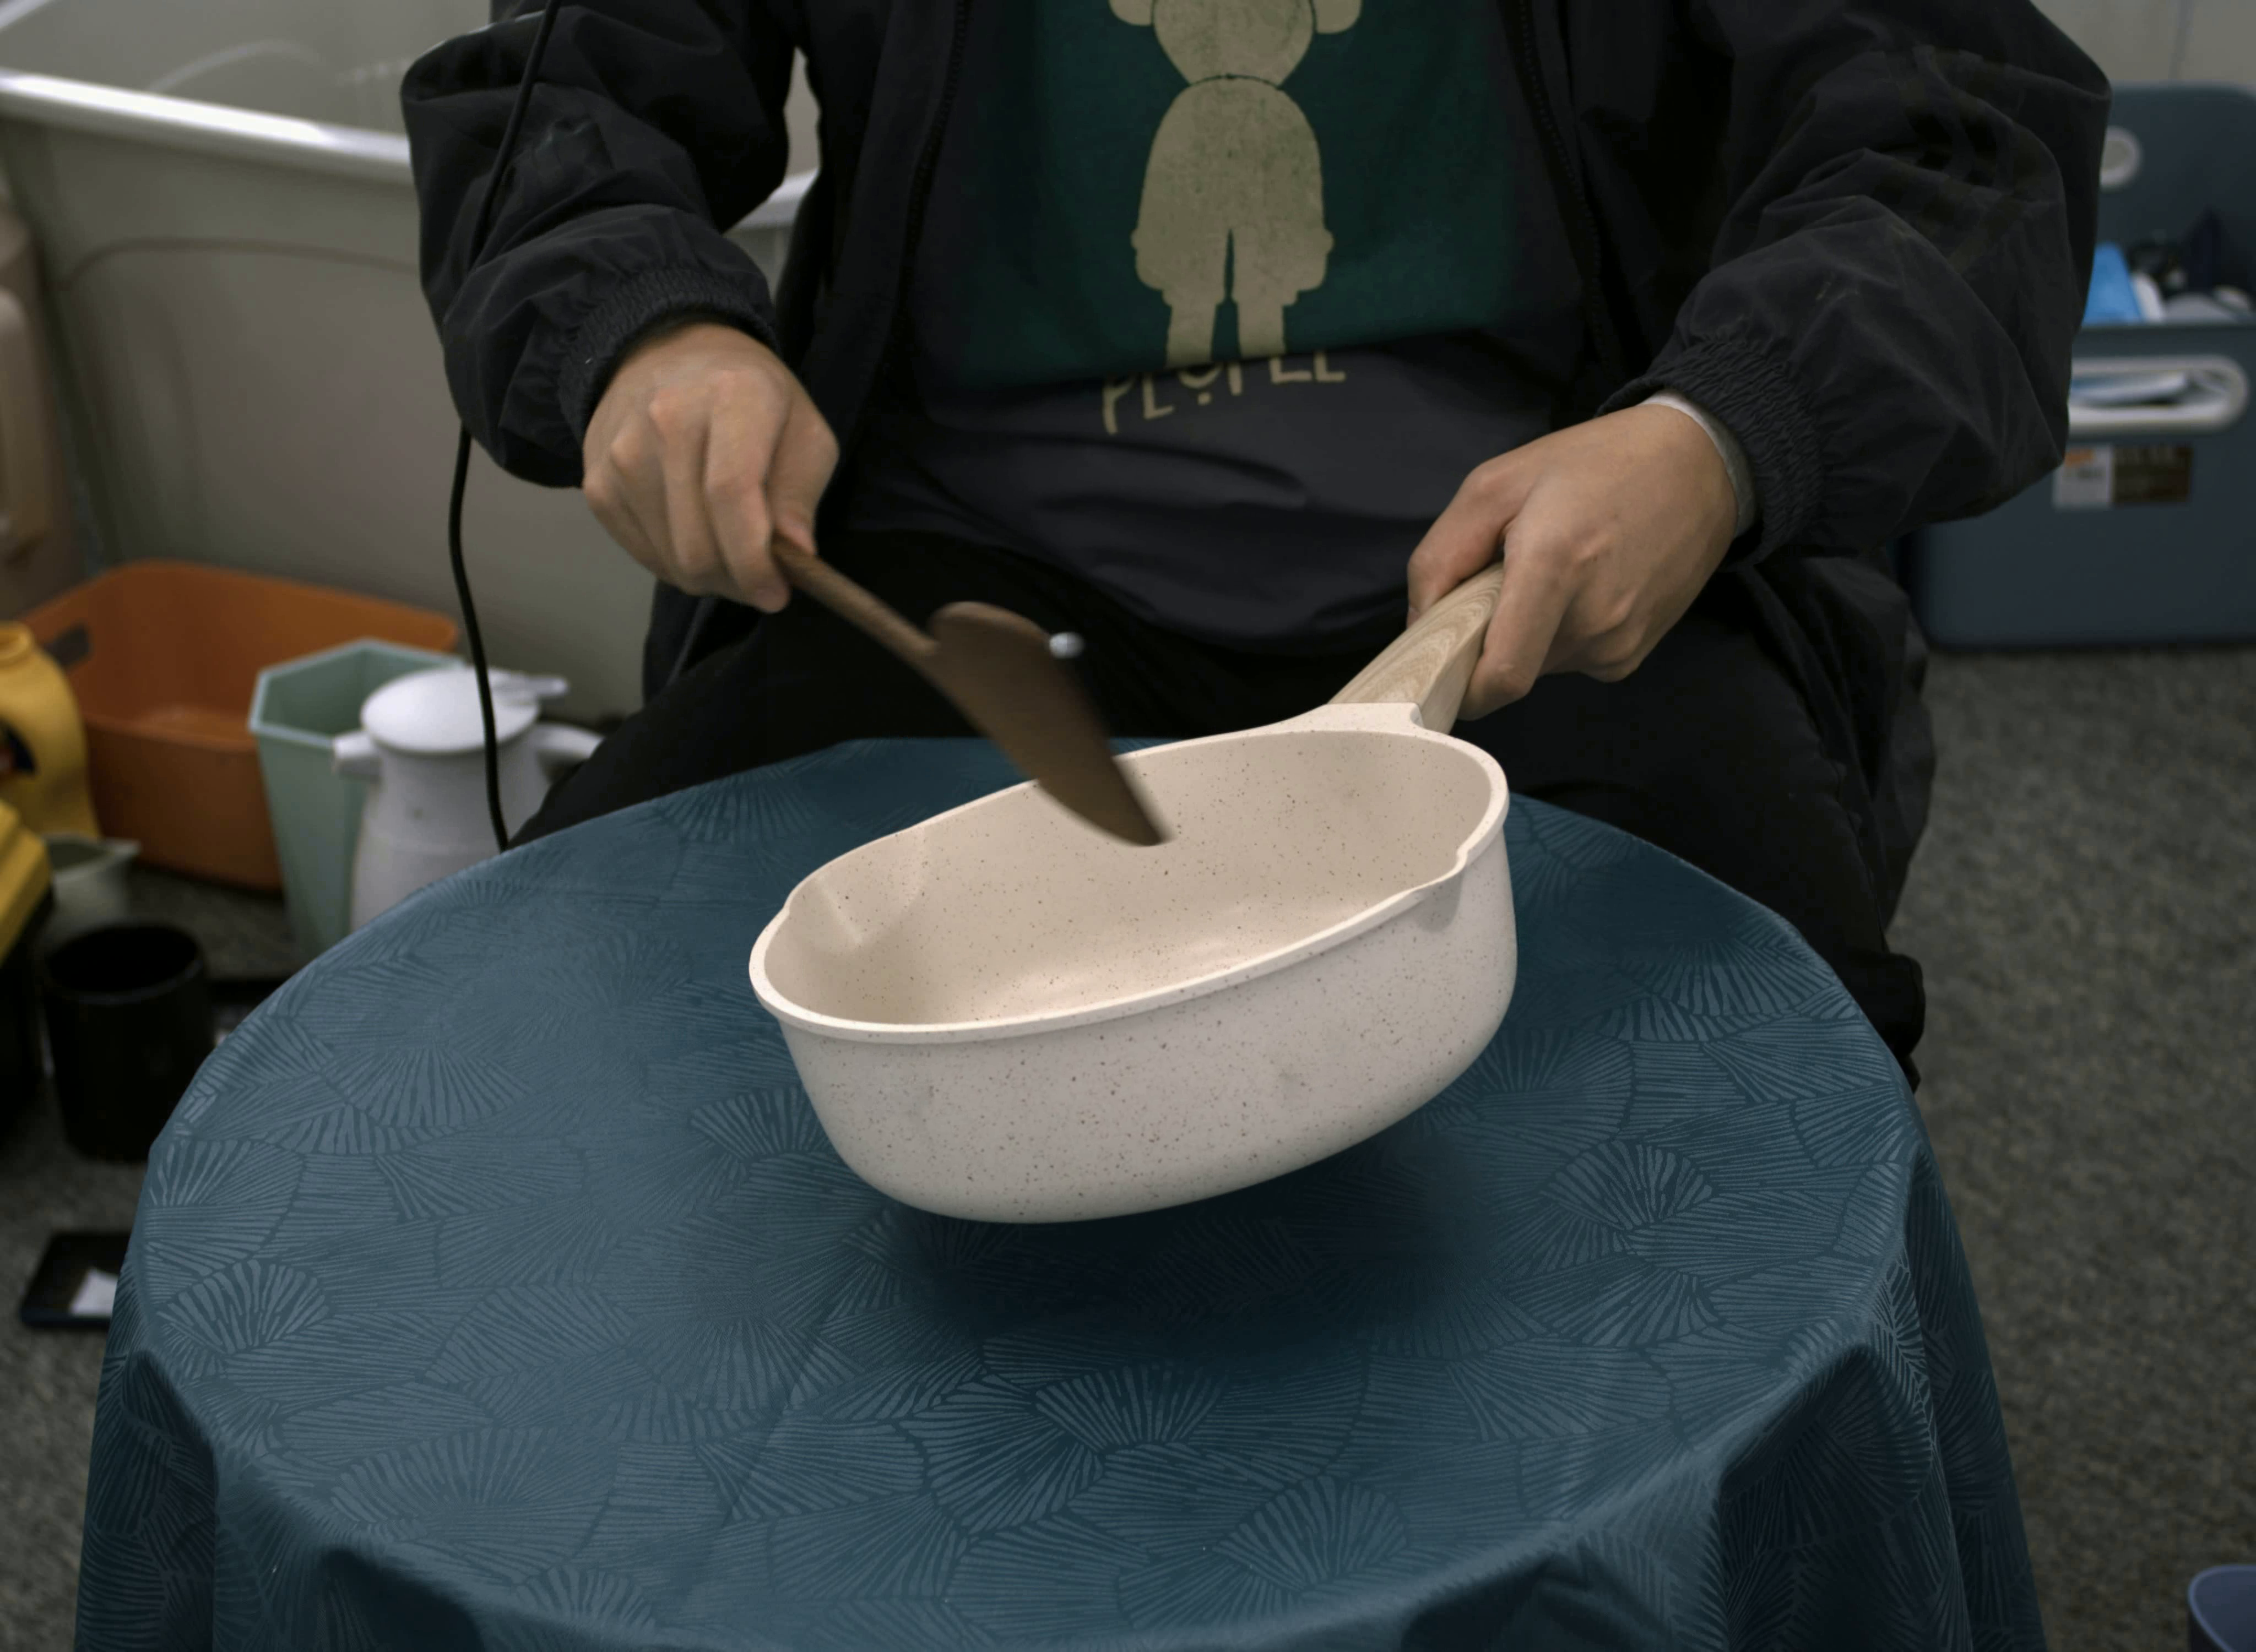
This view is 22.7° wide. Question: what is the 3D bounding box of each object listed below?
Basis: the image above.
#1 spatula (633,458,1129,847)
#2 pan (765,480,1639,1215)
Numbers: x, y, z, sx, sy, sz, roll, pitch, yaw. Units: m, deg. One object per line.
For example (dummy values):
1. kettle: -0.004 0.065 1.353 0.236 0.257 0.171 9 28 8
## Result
1. spatula: -0.097 -0.074 1.904 0.016 0.095 0.387 -36 27 -11
2. pan: 0.064 0.006 1.877 0.260 0.101 0.441 -3 21 39
